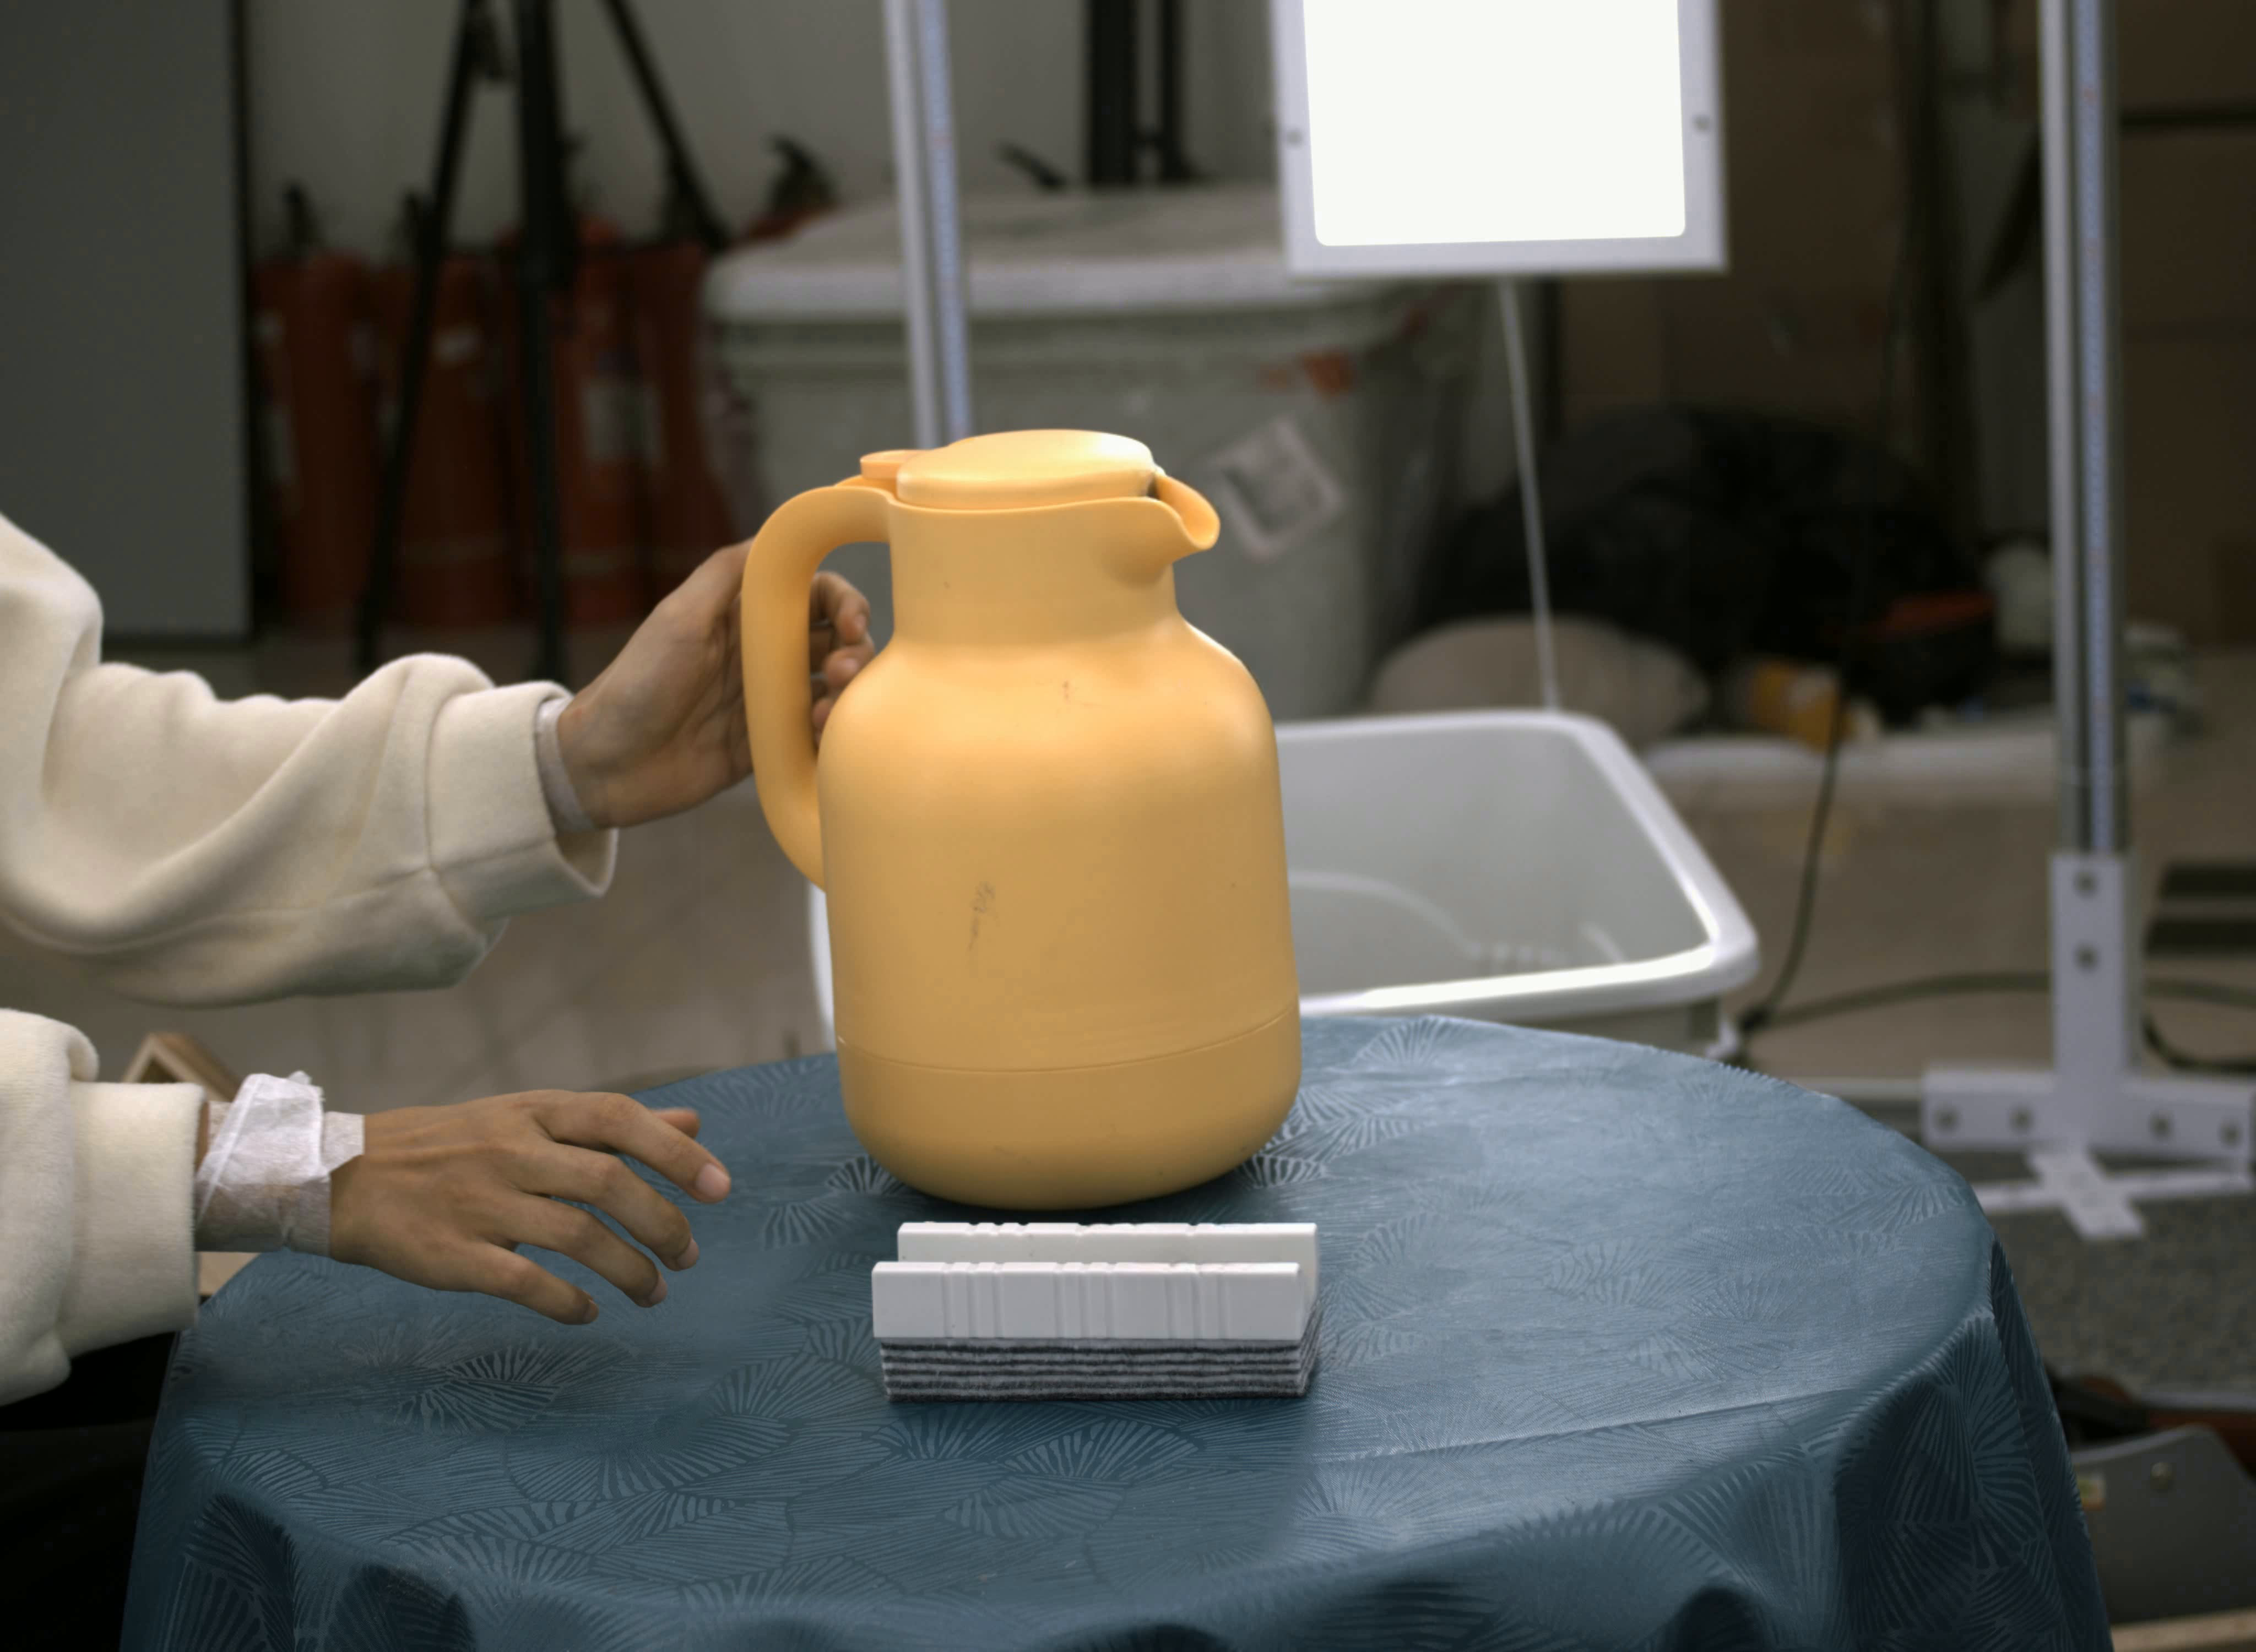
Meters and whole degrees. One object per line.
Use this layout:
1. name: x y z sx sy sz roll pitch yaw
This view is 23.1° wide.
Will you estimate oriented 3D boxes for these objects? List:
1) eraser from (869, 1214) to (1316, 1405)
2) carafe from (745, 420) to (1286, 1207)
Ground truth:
1. eraser: -0.010 0.150 1.708 0.135 0.047 0.049 -1 17 10
2. carafe: -0.043 -0.010 1.913 0.206 0.261 0.159 8 15 36
